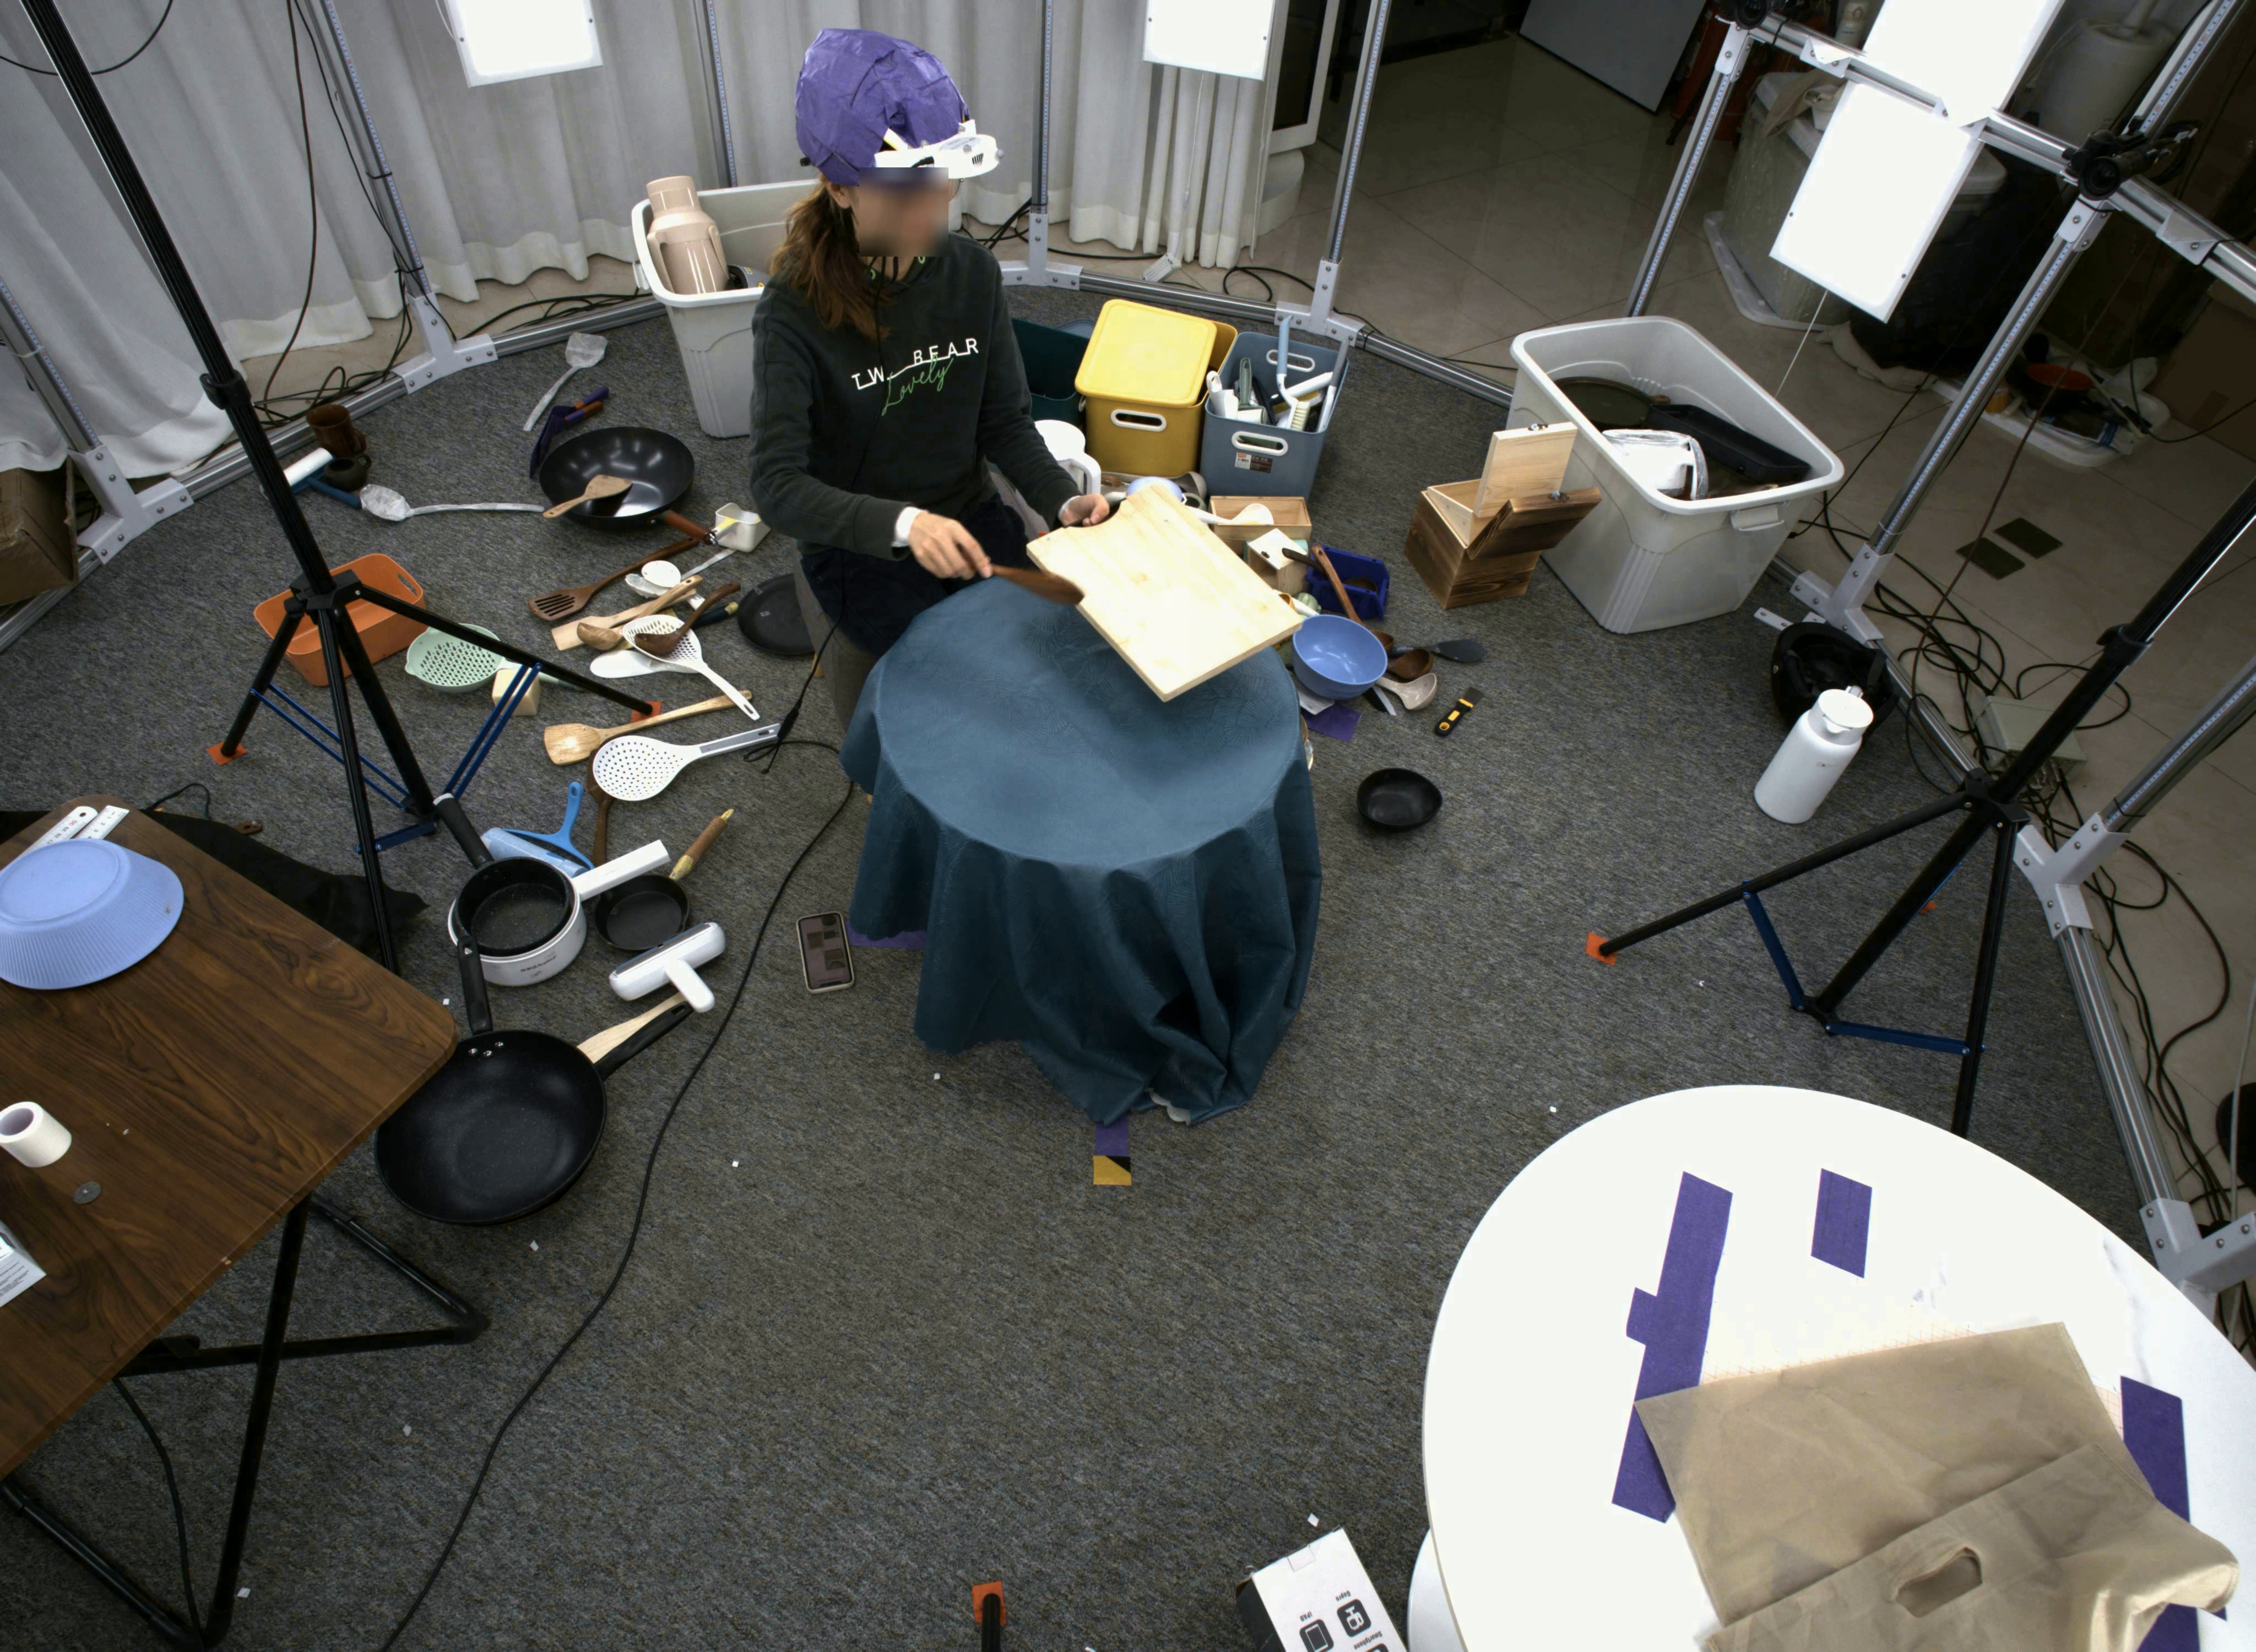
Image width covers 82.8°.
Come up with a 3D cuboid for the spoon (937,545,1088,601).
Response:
[{"bbox_3d":[-0.150,-0.324,1.652,0.217,0.074,0.017,20,85,19],"label":"spoon"}]

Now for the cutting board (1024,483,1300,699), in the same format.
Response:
[{"bbox_3d":[0.044,-0.344,1.840,0.252,0.023,0.355,-29,59,-21],"label":"cutting board"}]
